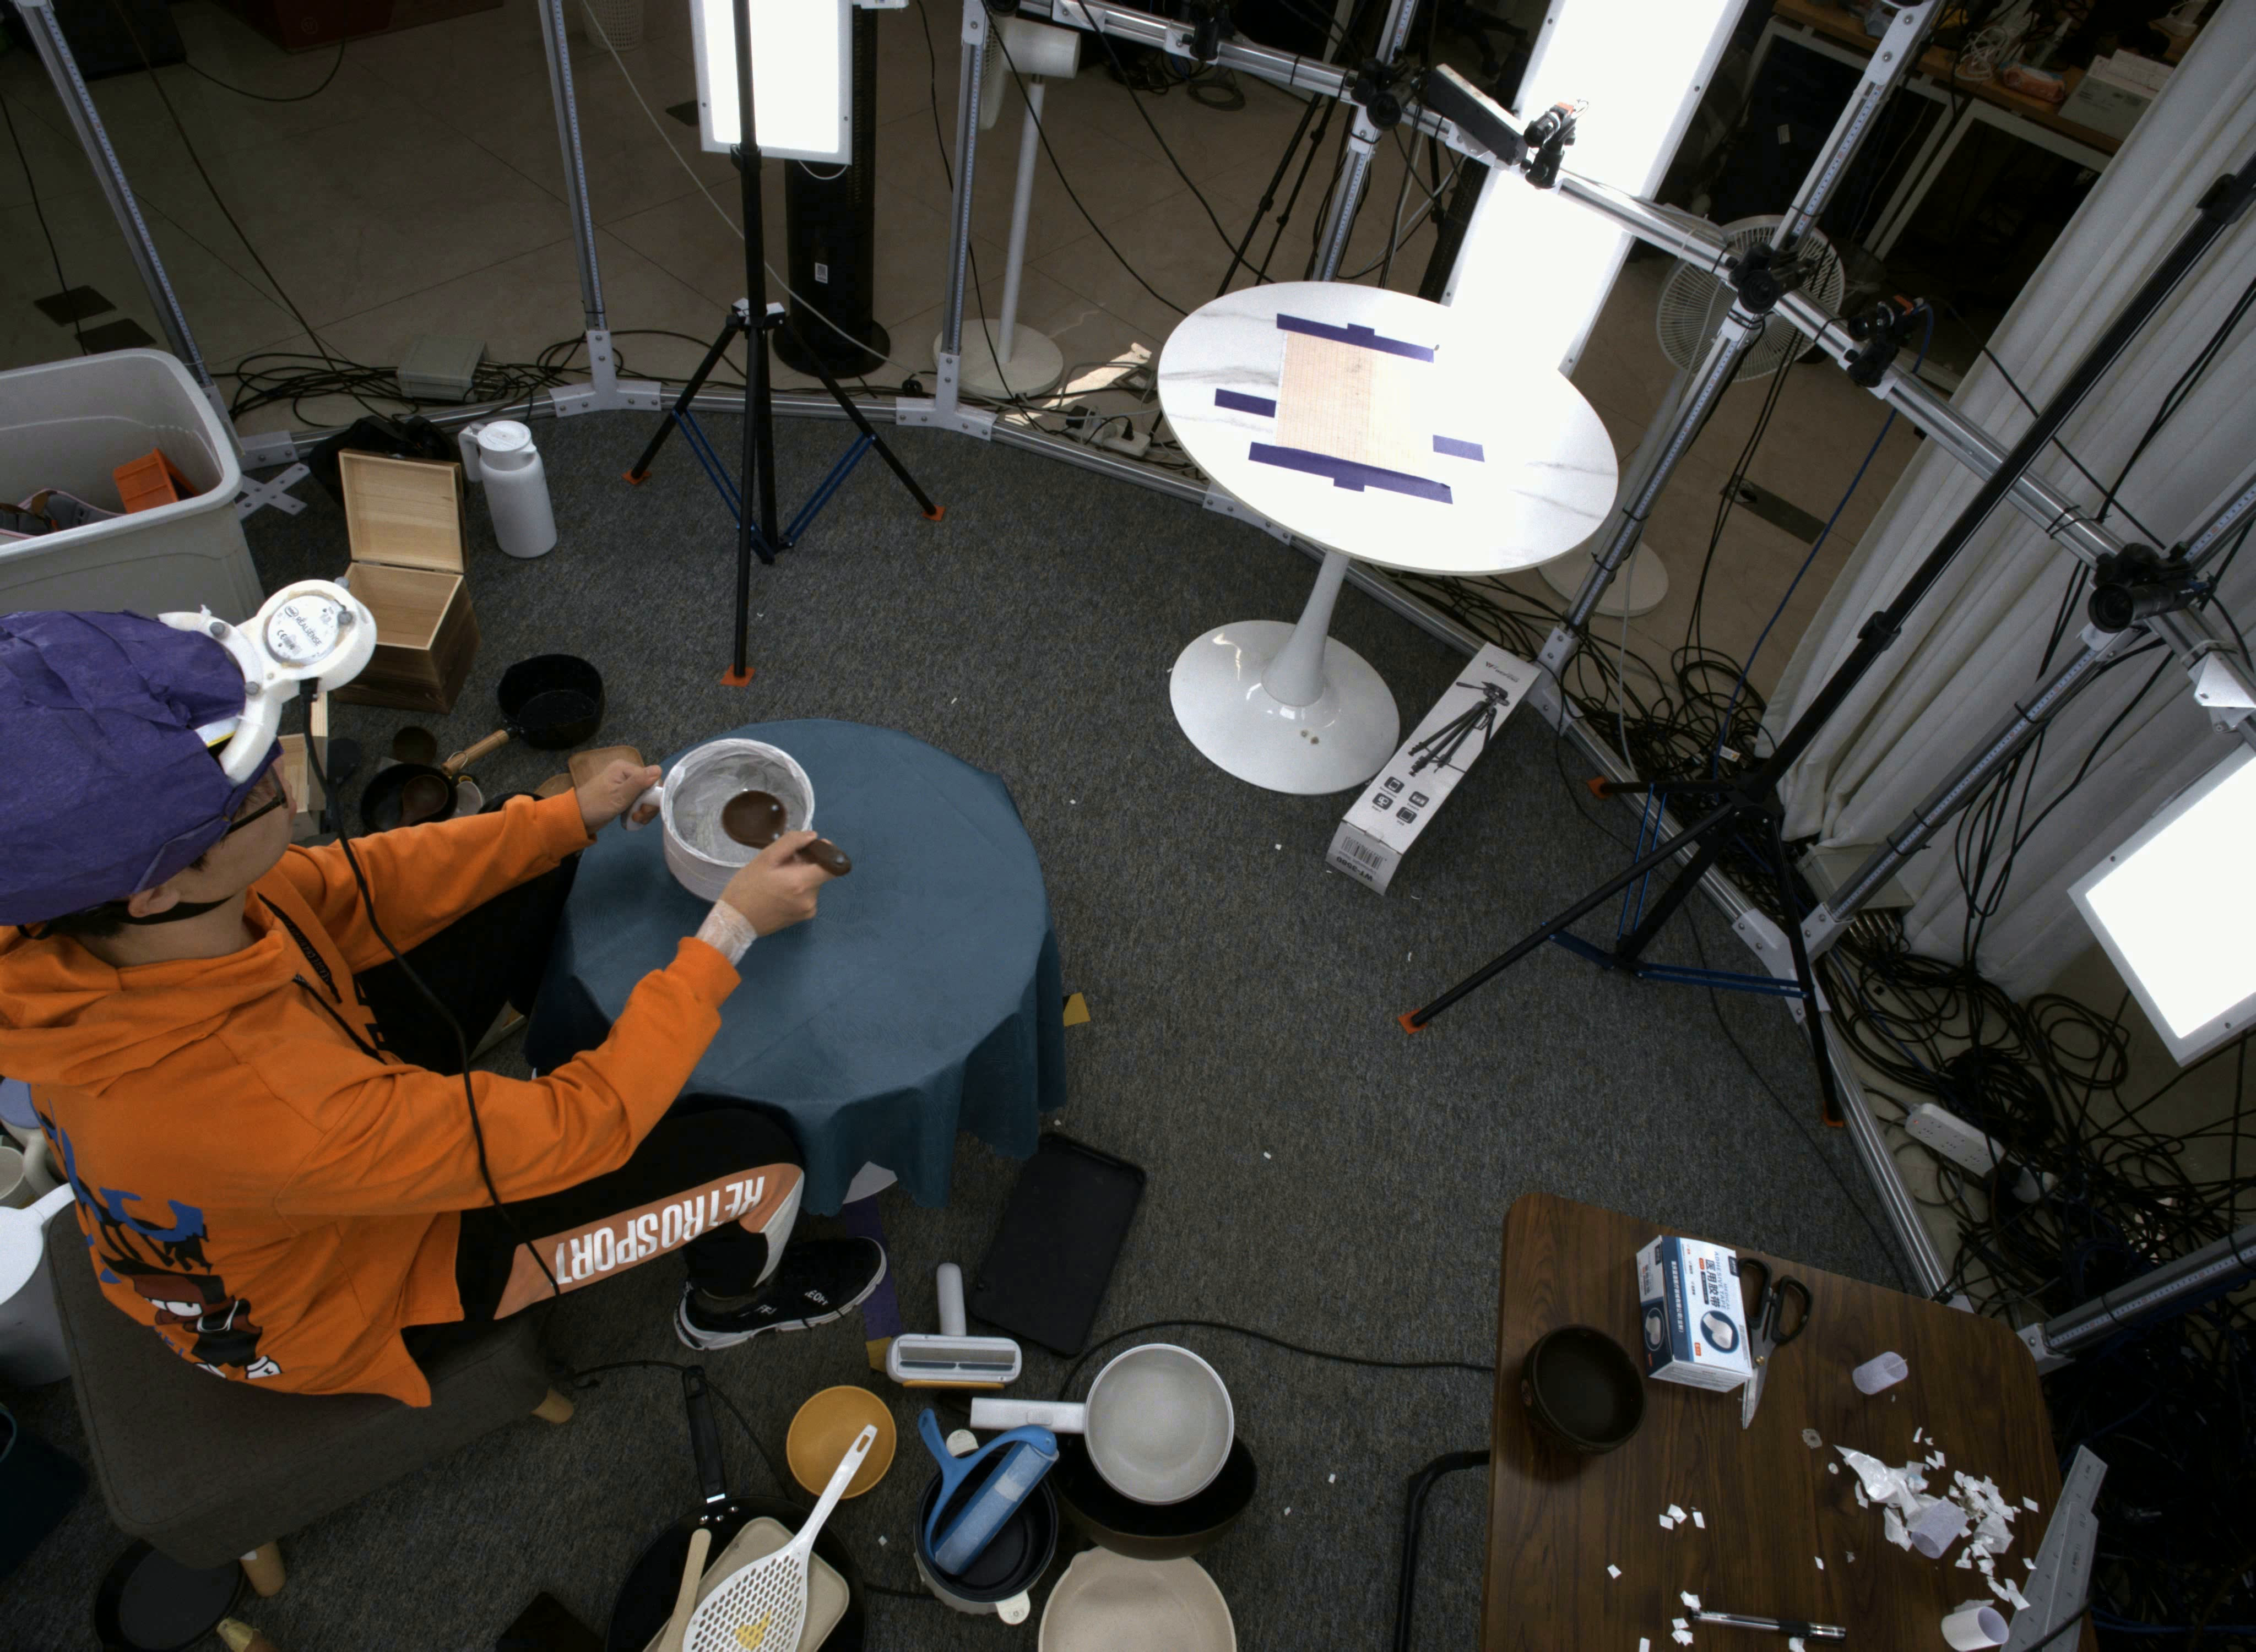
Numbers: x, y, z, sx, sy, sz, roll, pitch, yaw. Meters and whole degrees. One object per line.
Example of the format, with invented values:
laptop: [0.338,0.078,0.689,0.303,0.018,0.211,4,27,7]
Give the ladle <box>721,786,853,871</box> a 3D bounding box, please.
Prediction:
ladle: [-0.375,0.000,1.422,0.076,0.067,0.251,-36,27,-28]

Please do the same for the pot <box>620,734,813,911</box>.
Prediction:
pot: [-0.497,-0.006,1.548,0.234,0.138,0.176,13,56,-11]
